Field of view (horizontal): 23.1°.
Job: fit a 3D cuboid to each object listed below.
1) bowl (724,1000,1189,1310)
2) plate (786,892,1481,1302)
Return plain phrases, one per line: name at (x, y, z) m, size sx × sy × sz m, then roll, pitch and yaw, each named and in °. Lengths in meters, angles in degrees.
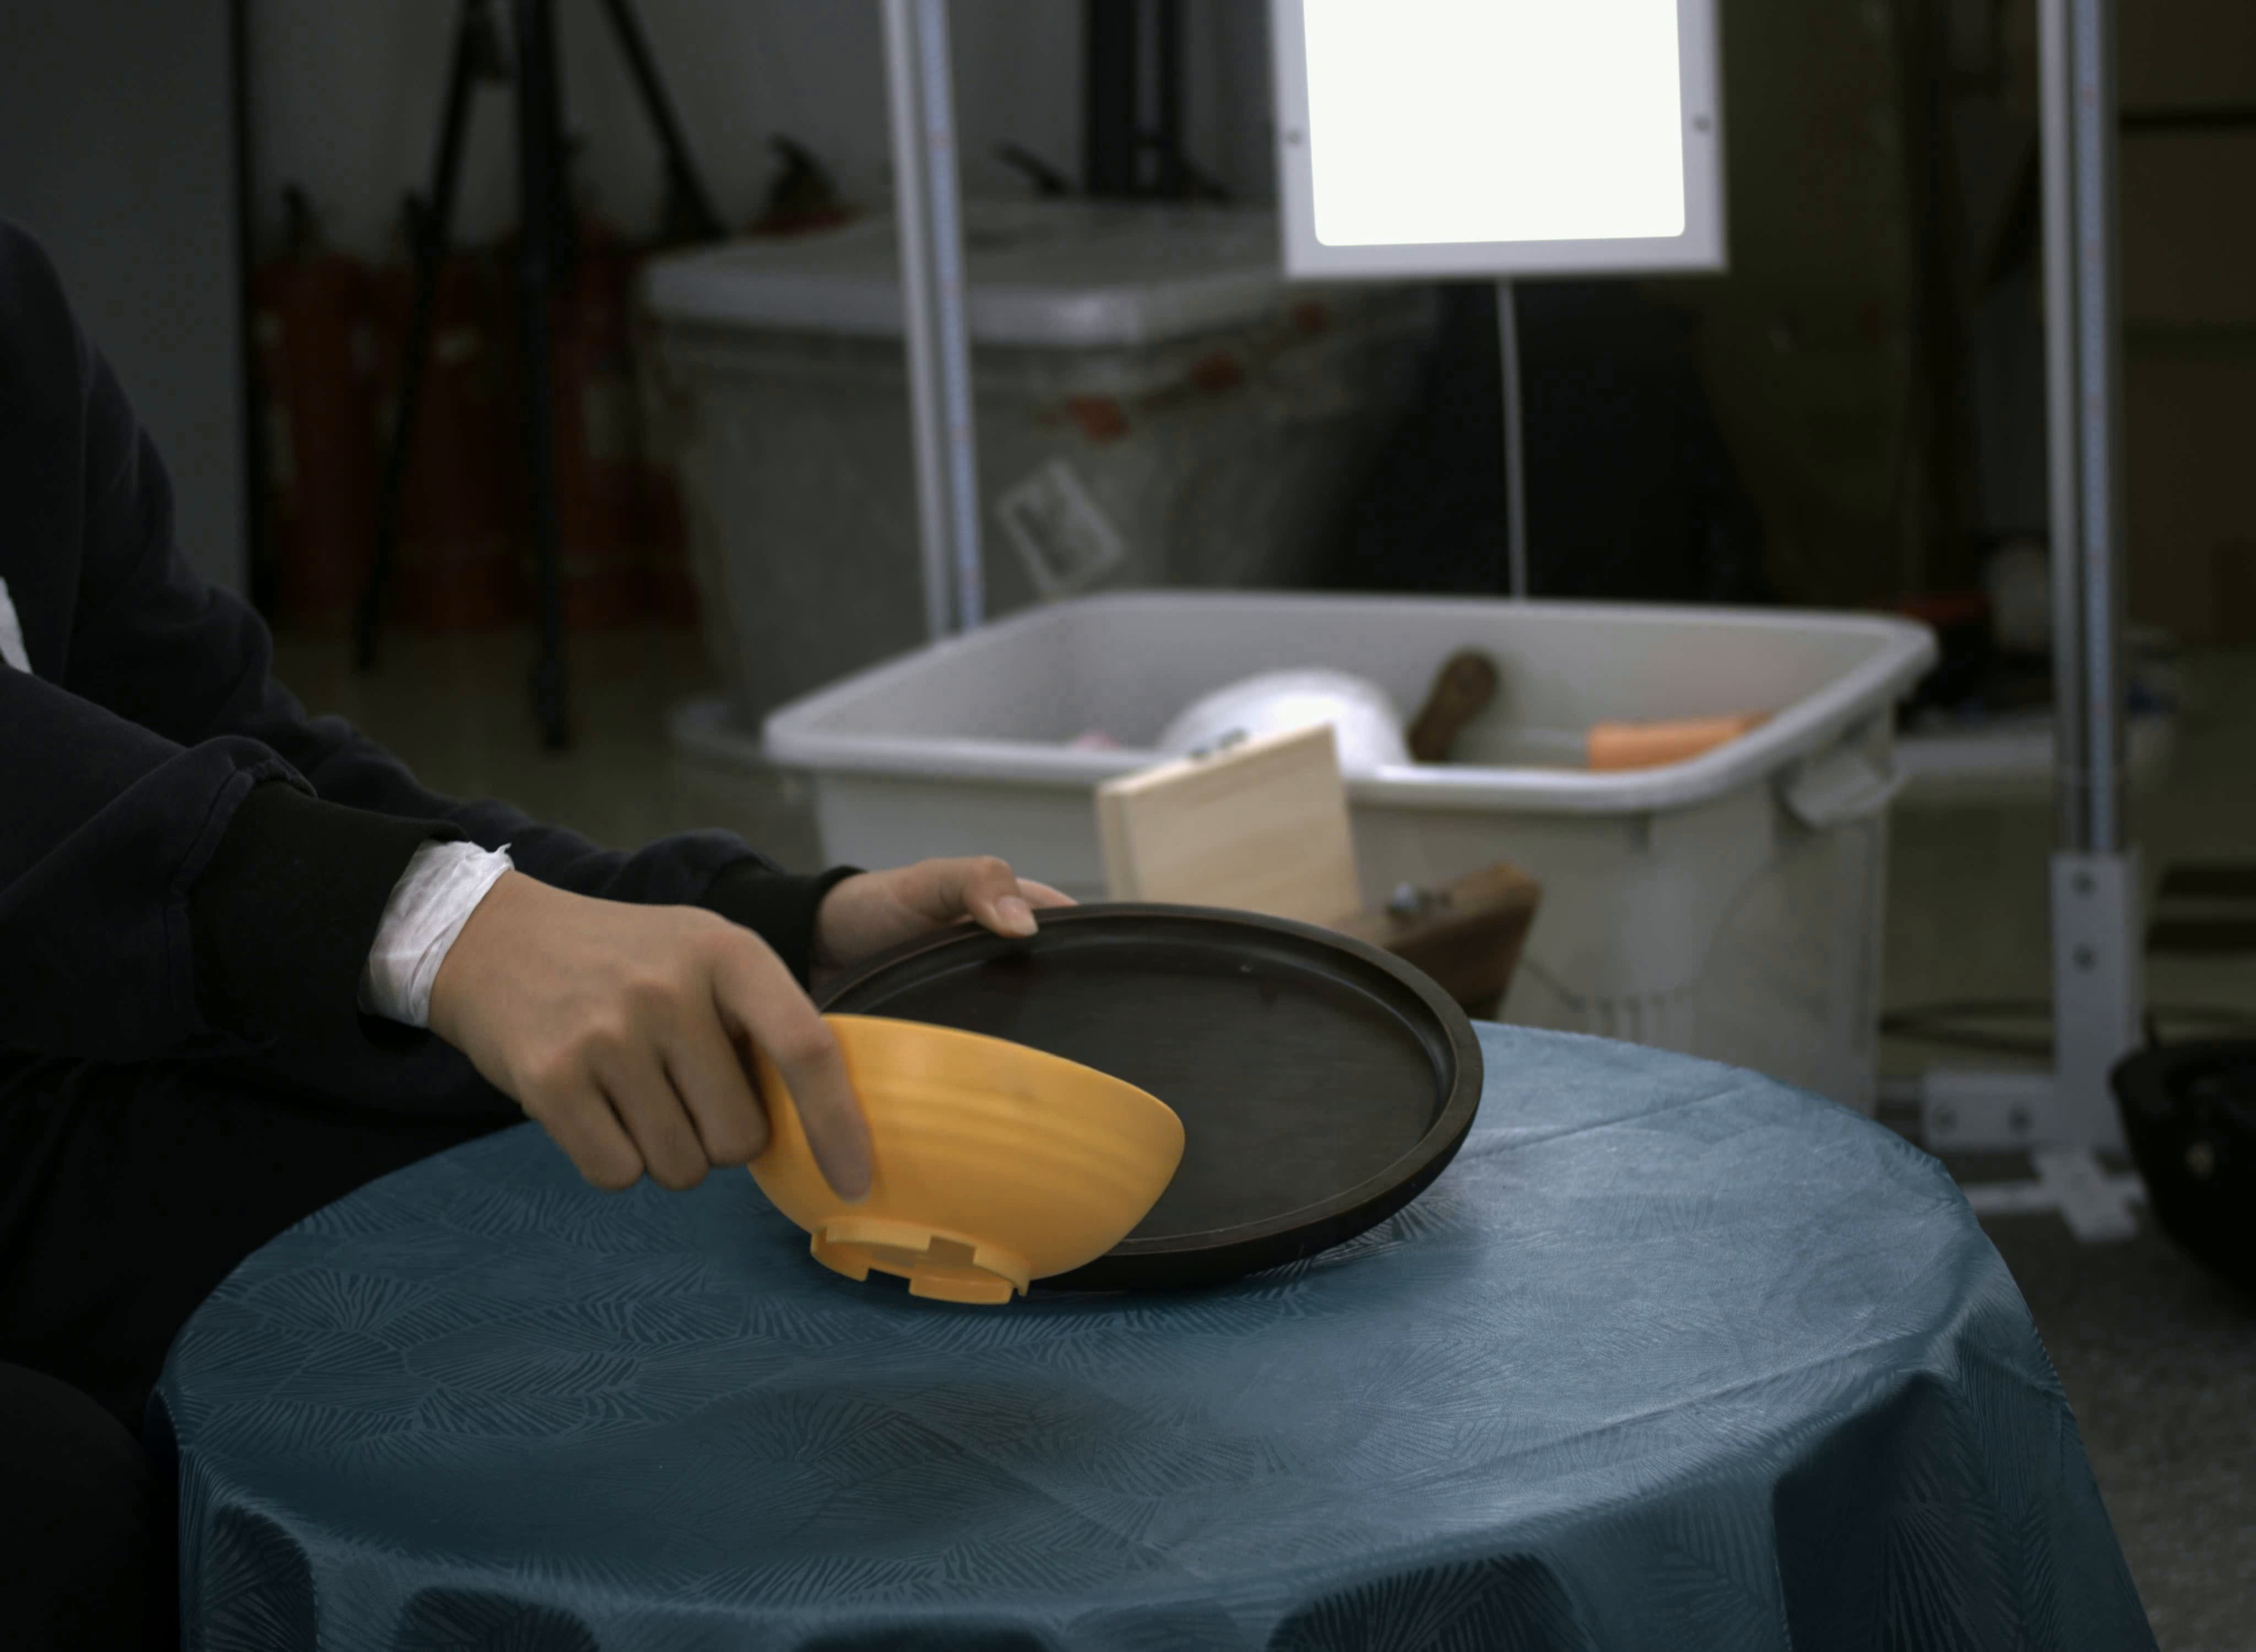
bowl at (-0.056, 0.107, 1.655) m, size 0.145 × 0.060 × 0.146 m, roll 11°, pitch -21°, yaw 3°
plate at (-0.004, 0.092, 1.892) m, size 0.254 × 0.029 × 0.254 m, roll -4°, pitch 28°, yaw 1°
